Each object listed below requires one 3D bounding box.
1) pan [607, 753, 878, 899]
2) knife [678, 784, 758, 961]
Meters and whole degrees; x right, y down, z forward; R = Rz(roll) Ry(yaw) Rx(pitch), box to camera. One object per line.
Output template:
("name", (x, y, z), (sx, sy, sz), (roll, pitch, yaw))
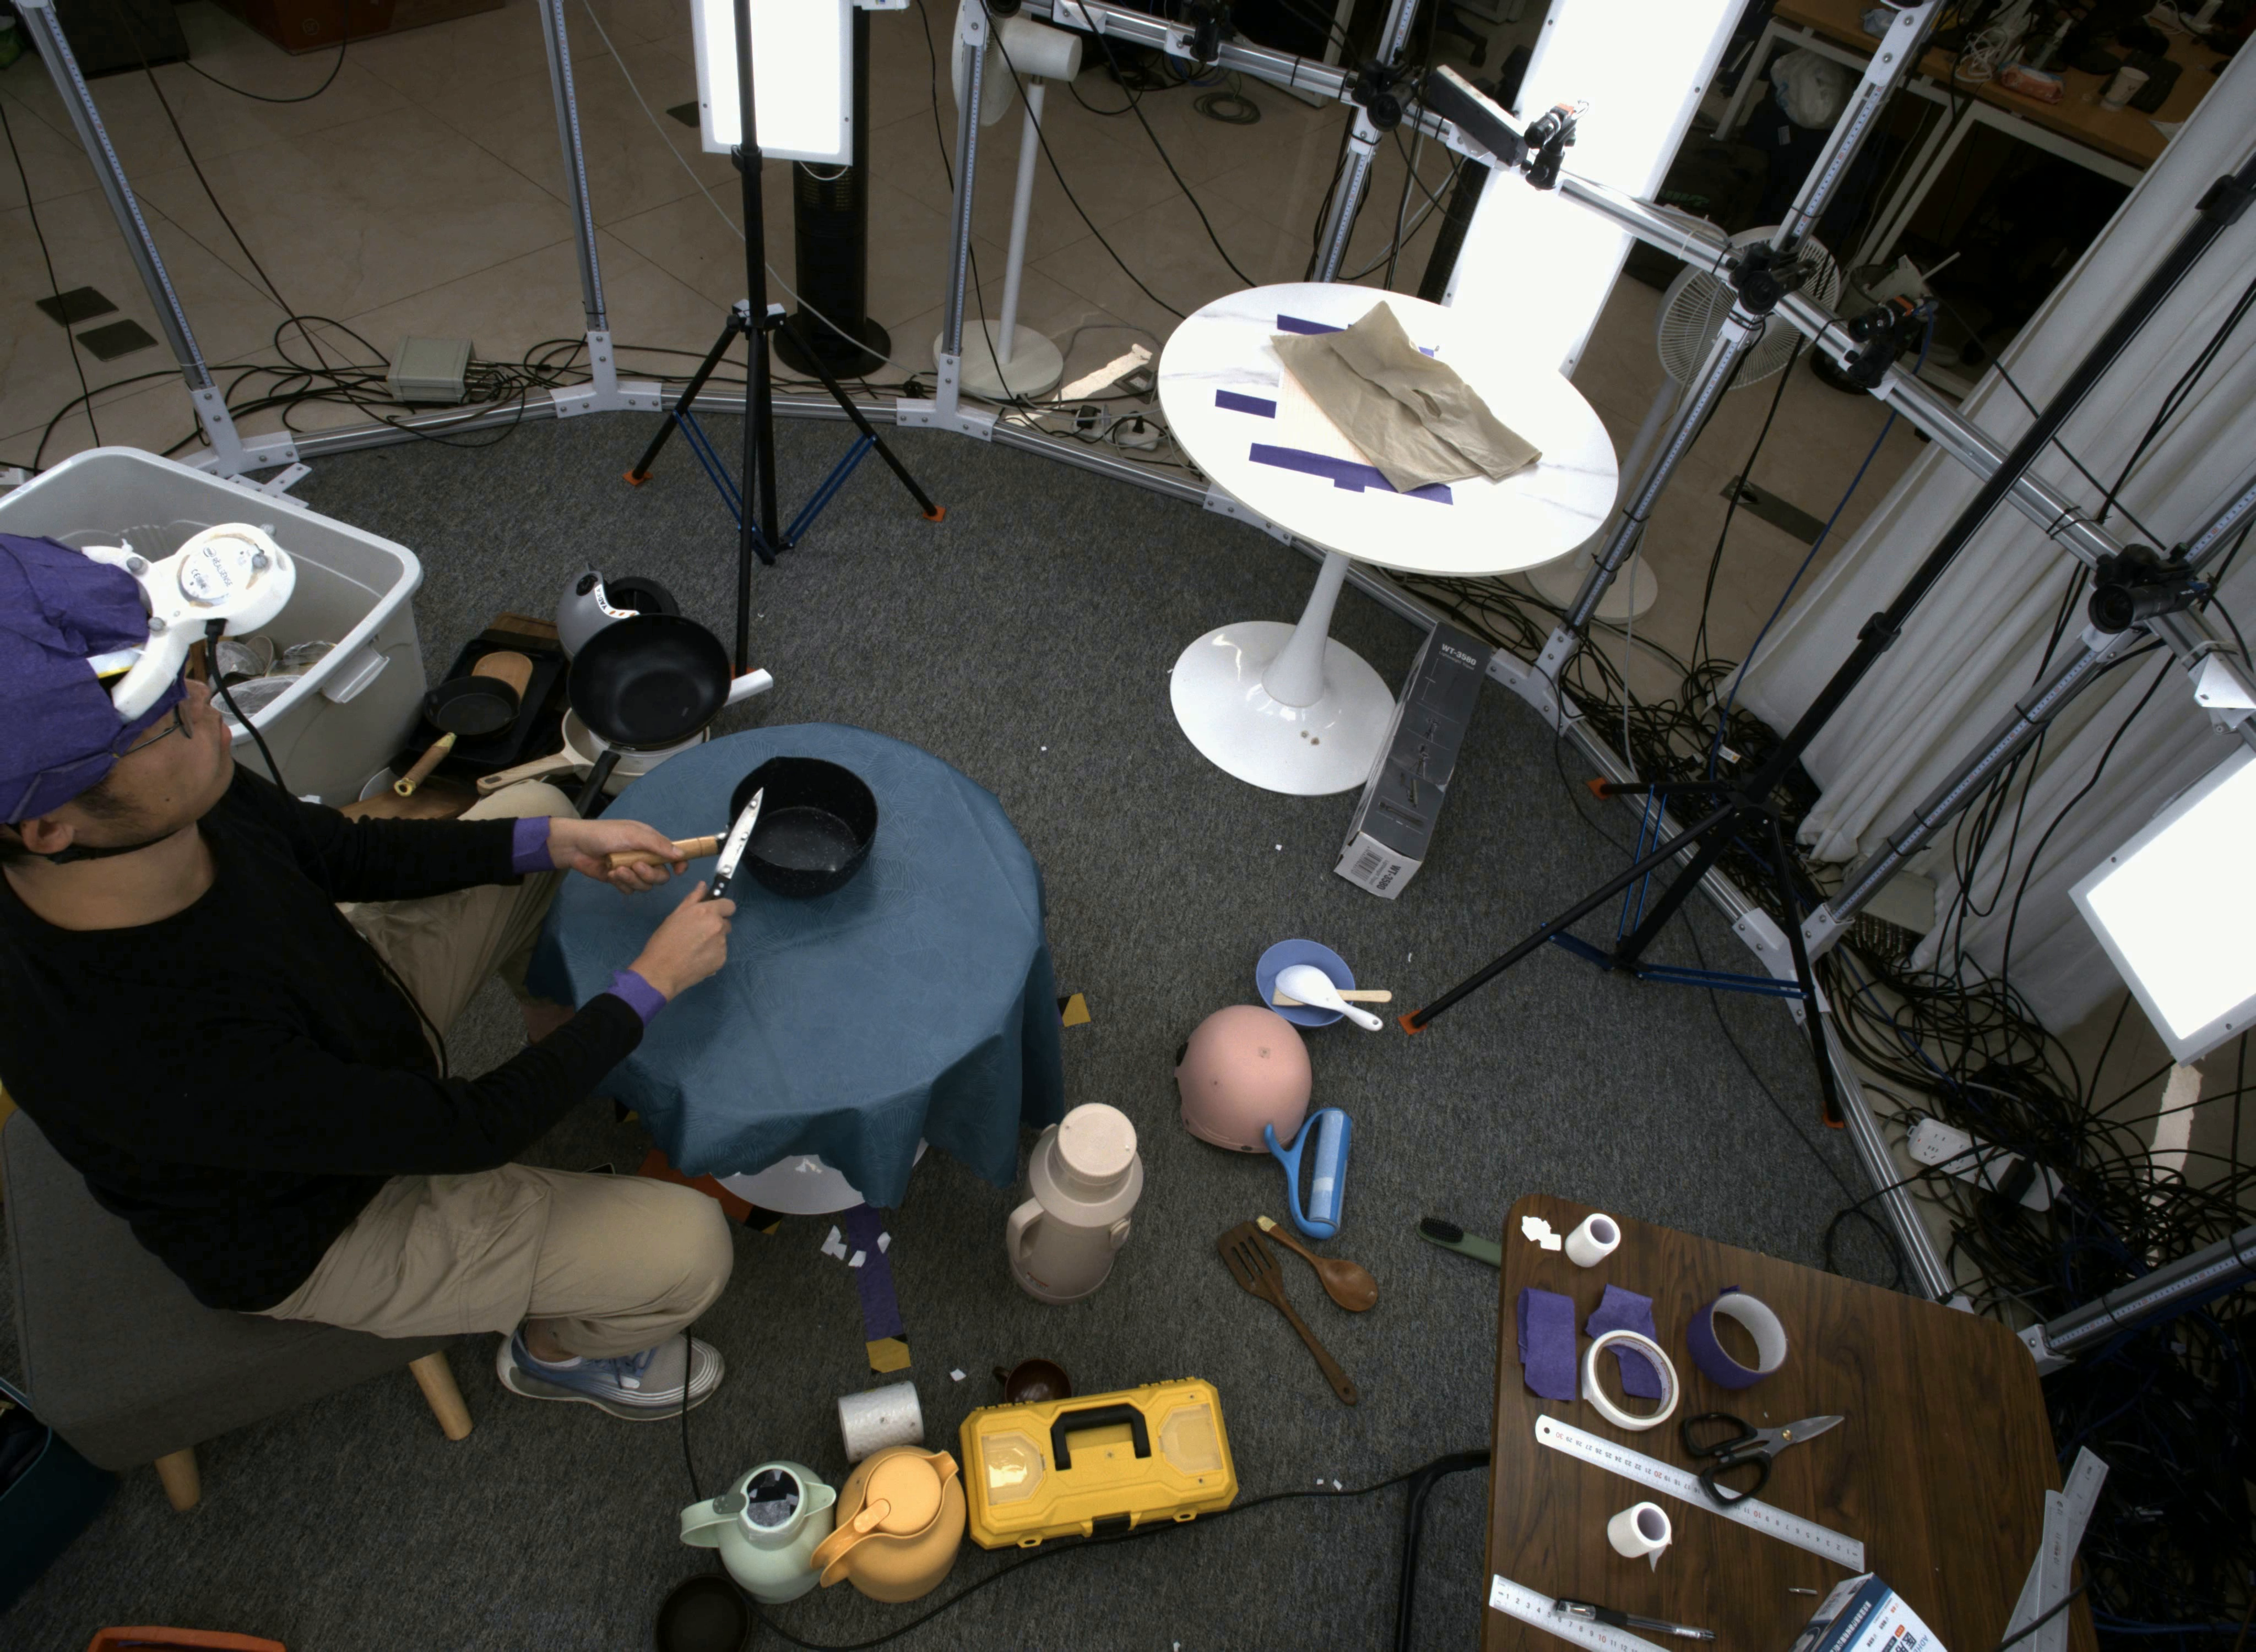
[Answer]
("pan", (-0.478, 0.022, 1.610), (0.345, 0.110, 0.202), (-19, 60, -32))
("knife", (-0.482, 0.051, 1.539), (0.025, 0.016, 0.236), (29, 61, -25))
